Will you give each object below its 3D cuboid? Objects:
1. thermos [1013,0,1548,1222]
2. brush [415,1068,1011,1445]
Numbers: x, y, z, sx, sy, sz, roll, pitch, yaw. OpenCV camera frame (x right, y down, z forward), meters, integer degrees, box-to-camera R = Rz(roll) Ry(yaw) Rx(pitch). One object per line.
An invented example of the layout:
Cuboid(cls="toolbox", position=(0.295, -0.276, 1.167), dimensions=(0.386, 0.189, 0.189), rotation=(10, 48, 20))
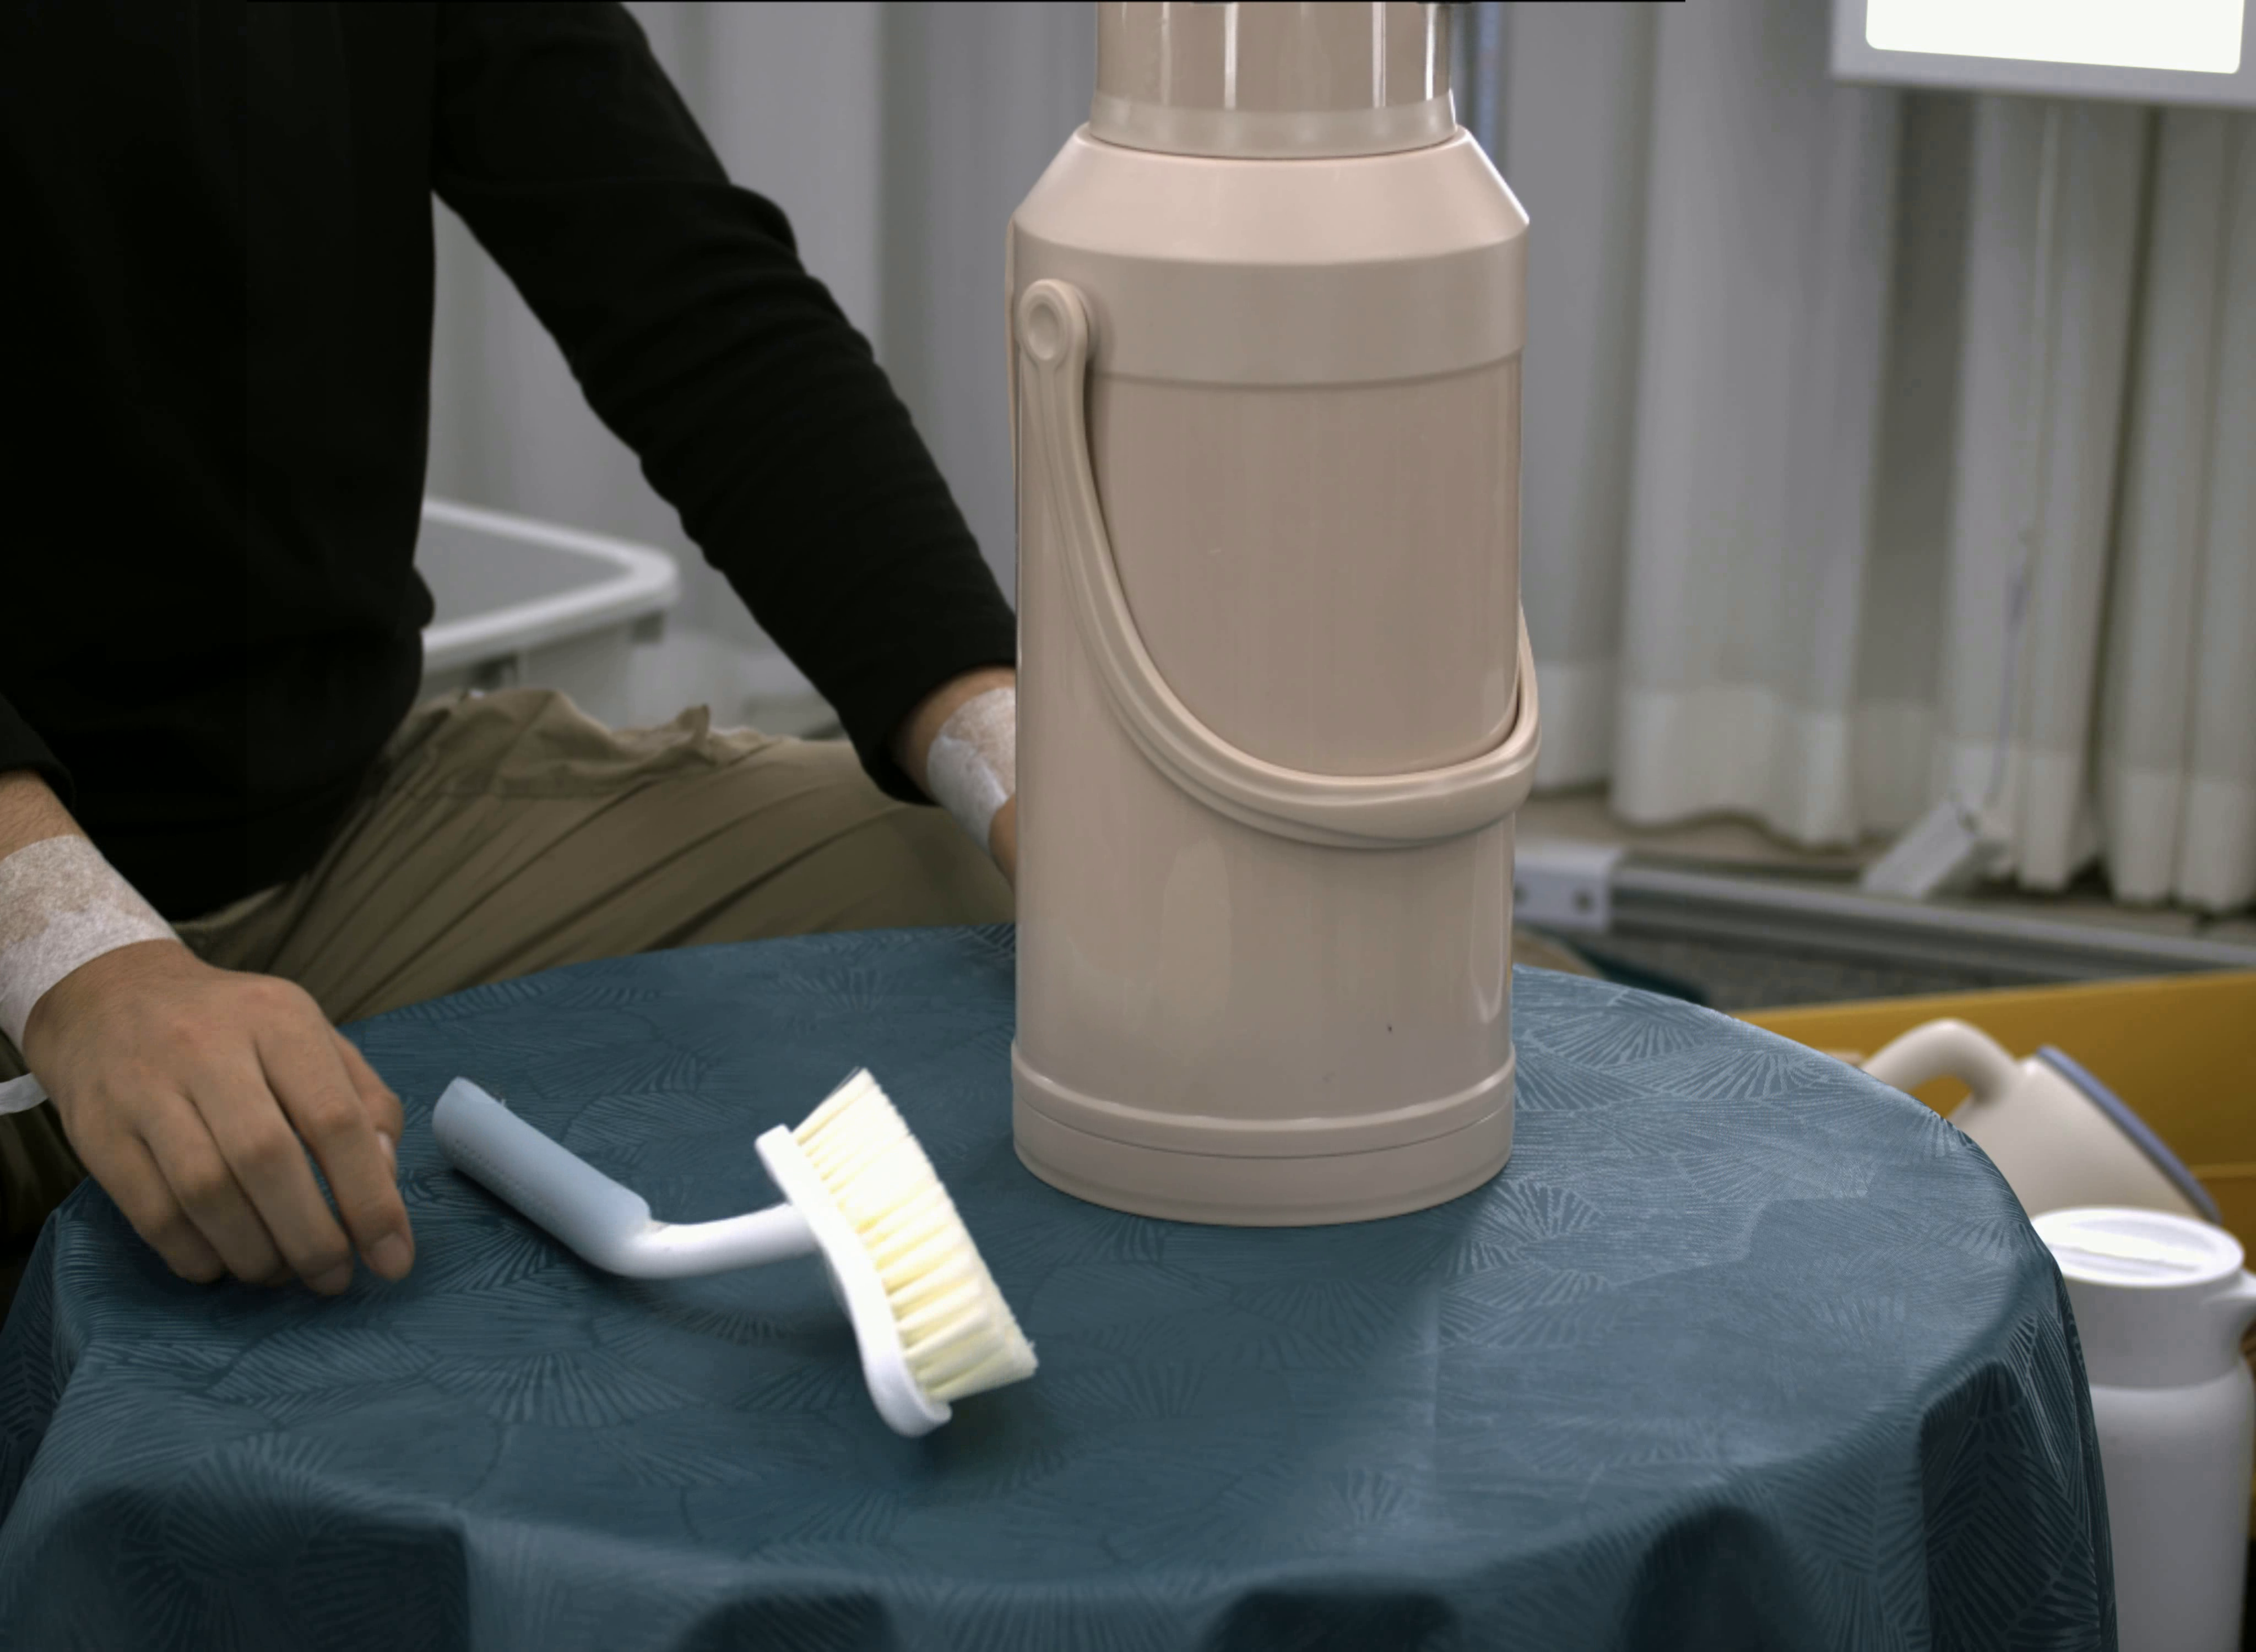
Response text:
Cuboid(cls="thermos", position=(0.037, -0.094, 1.622), dimensions=(0.176, 0.410, 0.204), rotation=(-15, 22, -38))
Cuboid(cls="brush", position=(-0.114, 0.099, 1.531), dimensions=(0.085, 0.083, 0.321), rotation=(5, 10, -30))
